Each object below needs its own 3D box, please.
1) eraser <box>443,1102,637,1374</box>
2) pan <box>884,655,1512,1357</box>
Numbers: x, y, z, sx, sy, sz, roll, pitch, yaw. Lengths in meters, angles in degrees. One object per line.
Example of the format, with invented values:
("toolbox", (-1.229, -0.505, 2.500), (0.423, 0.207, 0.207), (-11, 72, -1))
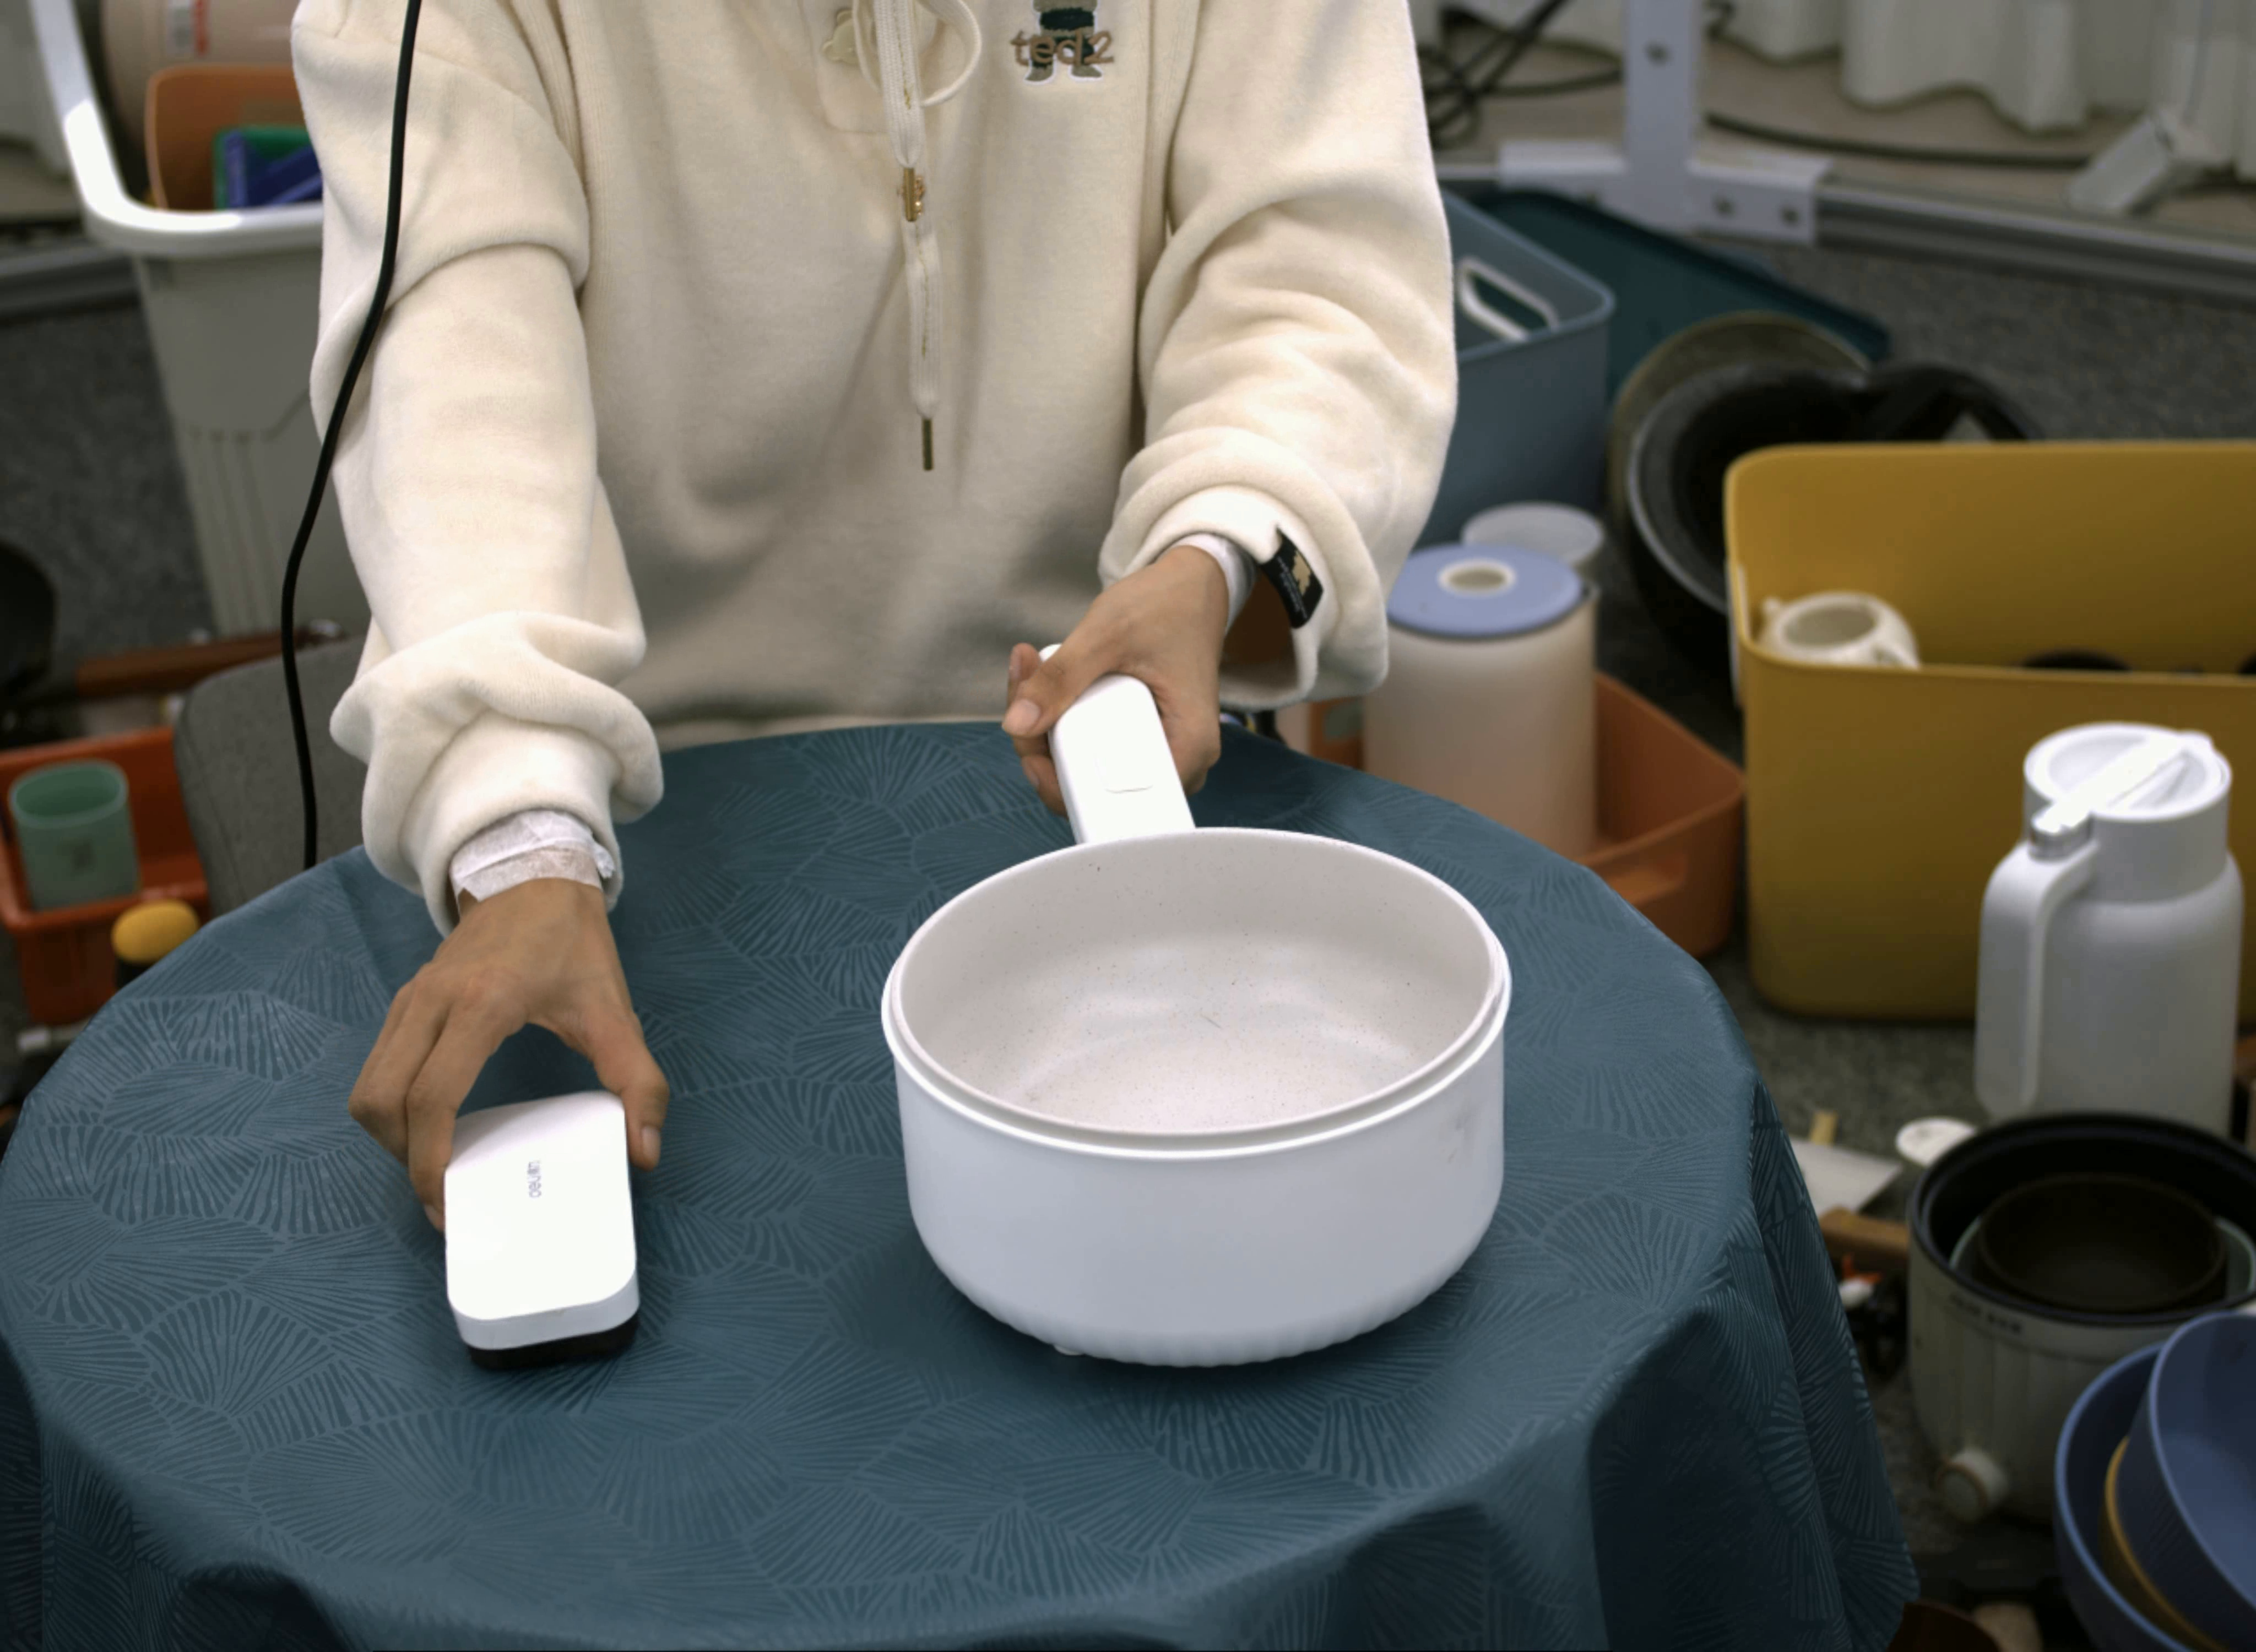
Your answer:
("eraser", (-0.190, 0.131, 1.828), (0.063, 0.034, 0.133), (-6, 28, -4))
("pan", (0.012, 0.057, 1.877), (0.201, 0.101, 0.359), (-5, 25, -7))
